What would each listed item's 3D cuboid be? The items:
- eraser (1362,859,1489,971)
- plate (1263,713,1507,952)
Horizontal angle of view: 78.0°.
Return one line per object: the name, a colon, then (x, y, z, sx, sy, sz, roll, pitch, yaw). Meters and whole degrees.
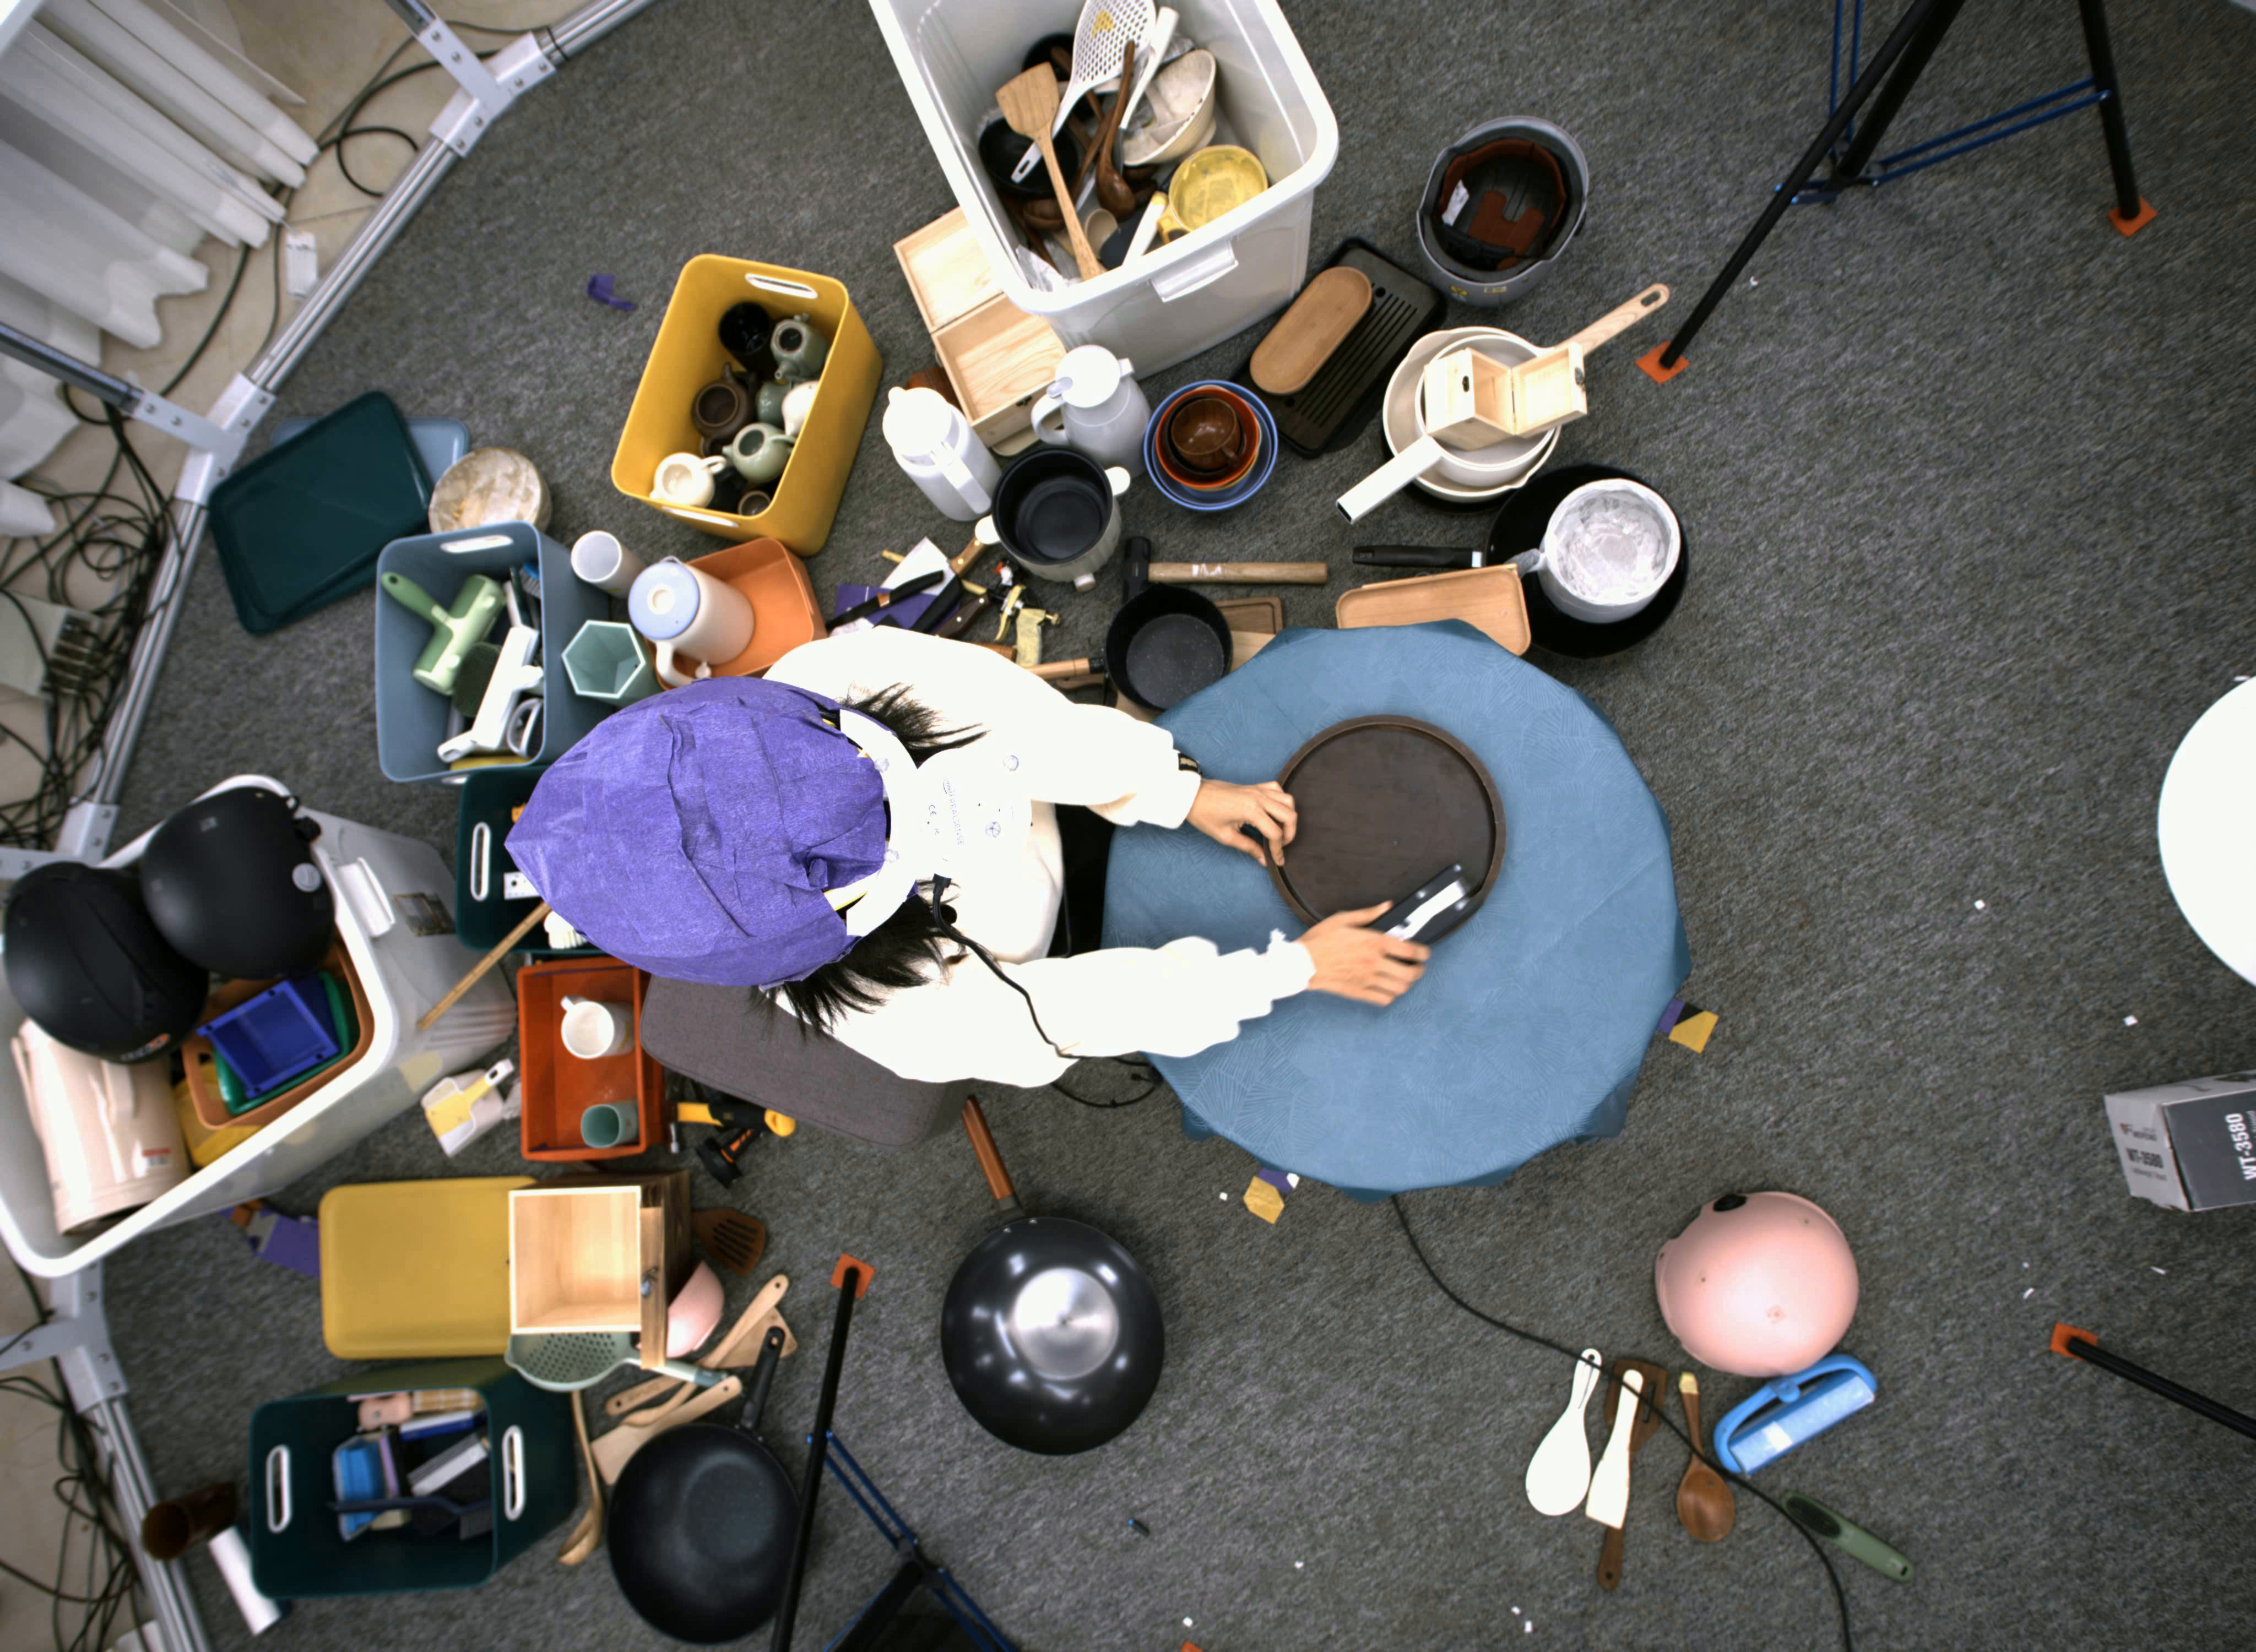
eraser: (0.306, 0.091, 1.419, 0.126, 0.030, 0.053, -38, 72, 7)
plate: (0.268, 0.005, 1.452, 0.256, 0.029, 0.253, -1, 87, 9)
